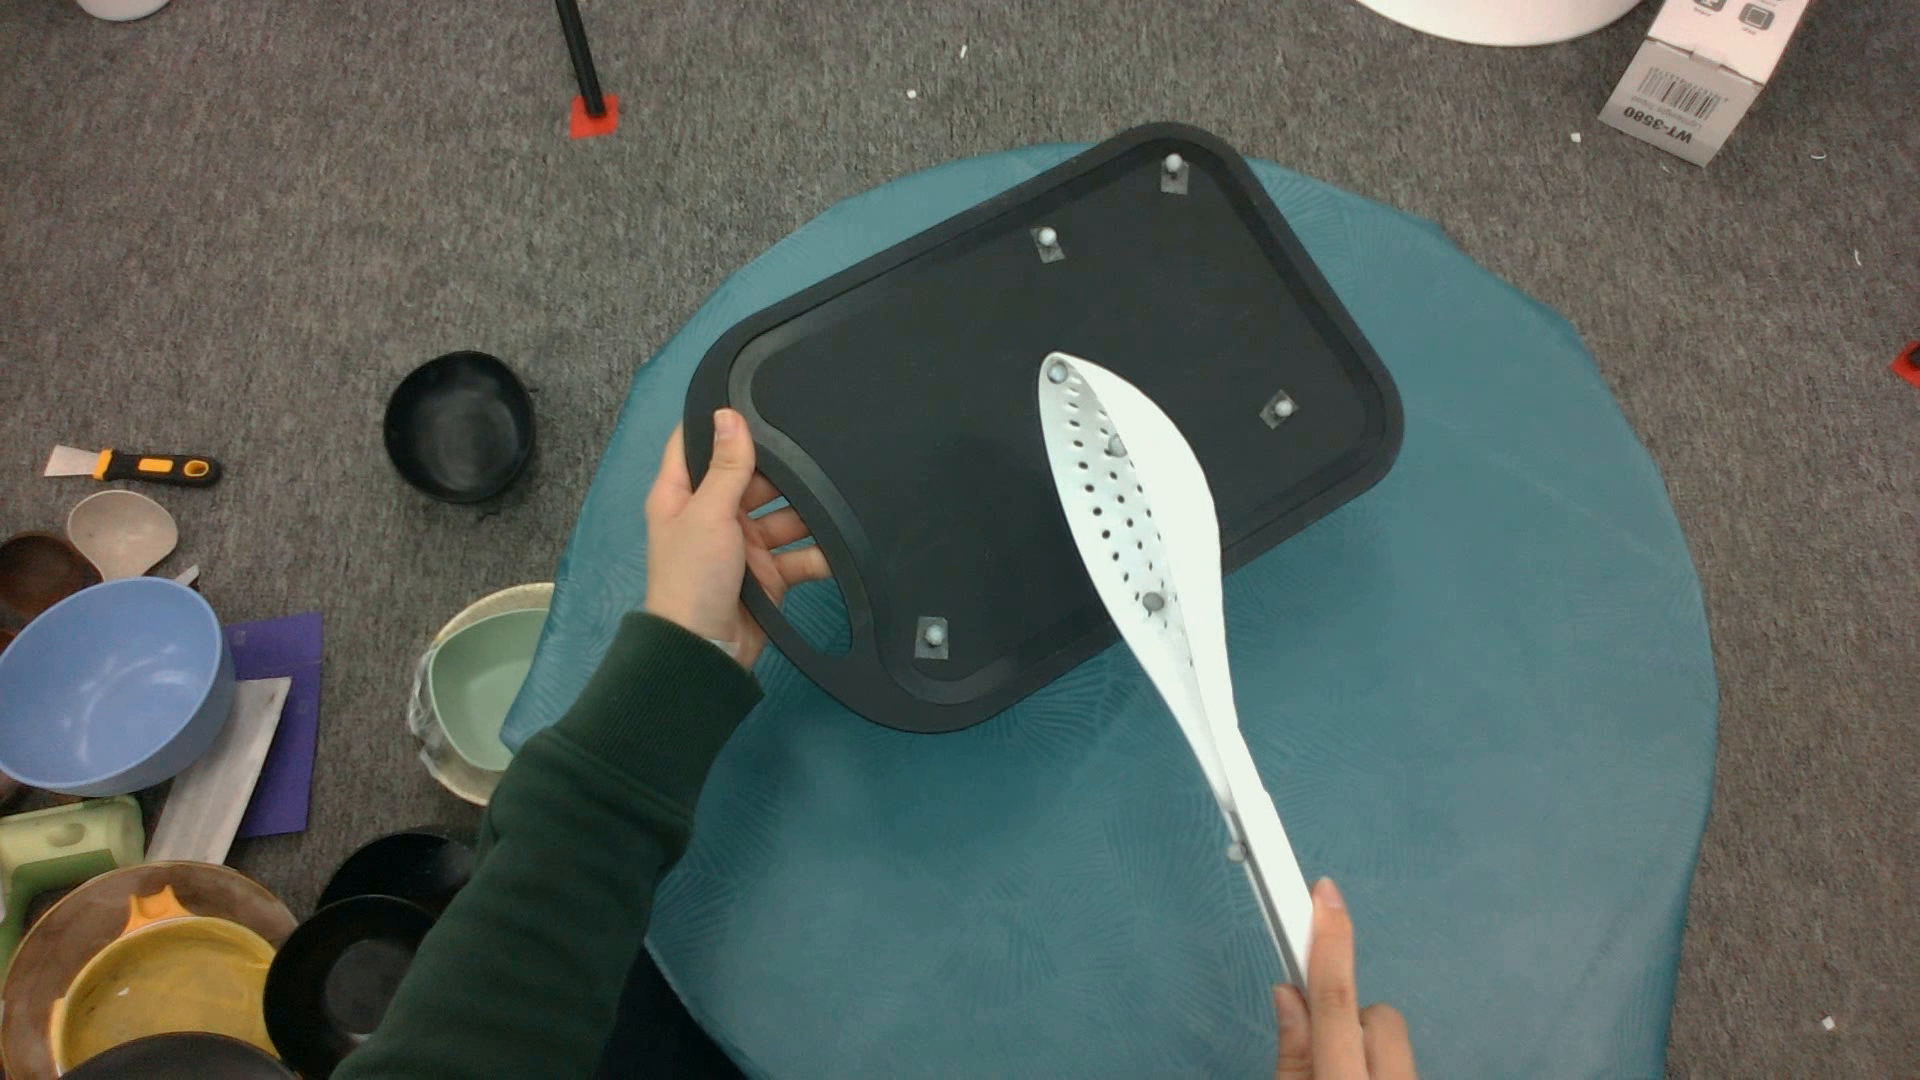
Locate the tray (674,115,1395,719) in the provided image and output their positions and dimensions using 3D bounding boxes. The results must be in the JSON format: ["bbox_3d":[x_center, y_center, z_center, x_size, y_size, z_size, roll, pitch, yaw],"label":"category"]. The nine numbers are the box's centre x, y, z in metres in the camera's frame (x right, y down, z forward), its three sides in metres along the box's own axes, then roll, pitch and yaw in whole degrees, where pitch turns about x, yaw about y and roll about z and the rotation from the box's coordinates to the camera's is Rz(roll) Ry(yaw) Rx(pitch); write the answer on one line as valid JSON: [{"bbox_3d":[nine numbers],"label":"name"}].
[{"bbox_3d":[0.037,-0.064,0.626,0.326,0.010,0.211,-29,81,-17],"label":"tray"}]

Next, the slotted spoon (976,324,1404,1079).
[{"bbox_3d":[0.094,0.075,0.533,0.046,0.135,0.350,-20,85,-19],"label":"slotted spoon"}]
